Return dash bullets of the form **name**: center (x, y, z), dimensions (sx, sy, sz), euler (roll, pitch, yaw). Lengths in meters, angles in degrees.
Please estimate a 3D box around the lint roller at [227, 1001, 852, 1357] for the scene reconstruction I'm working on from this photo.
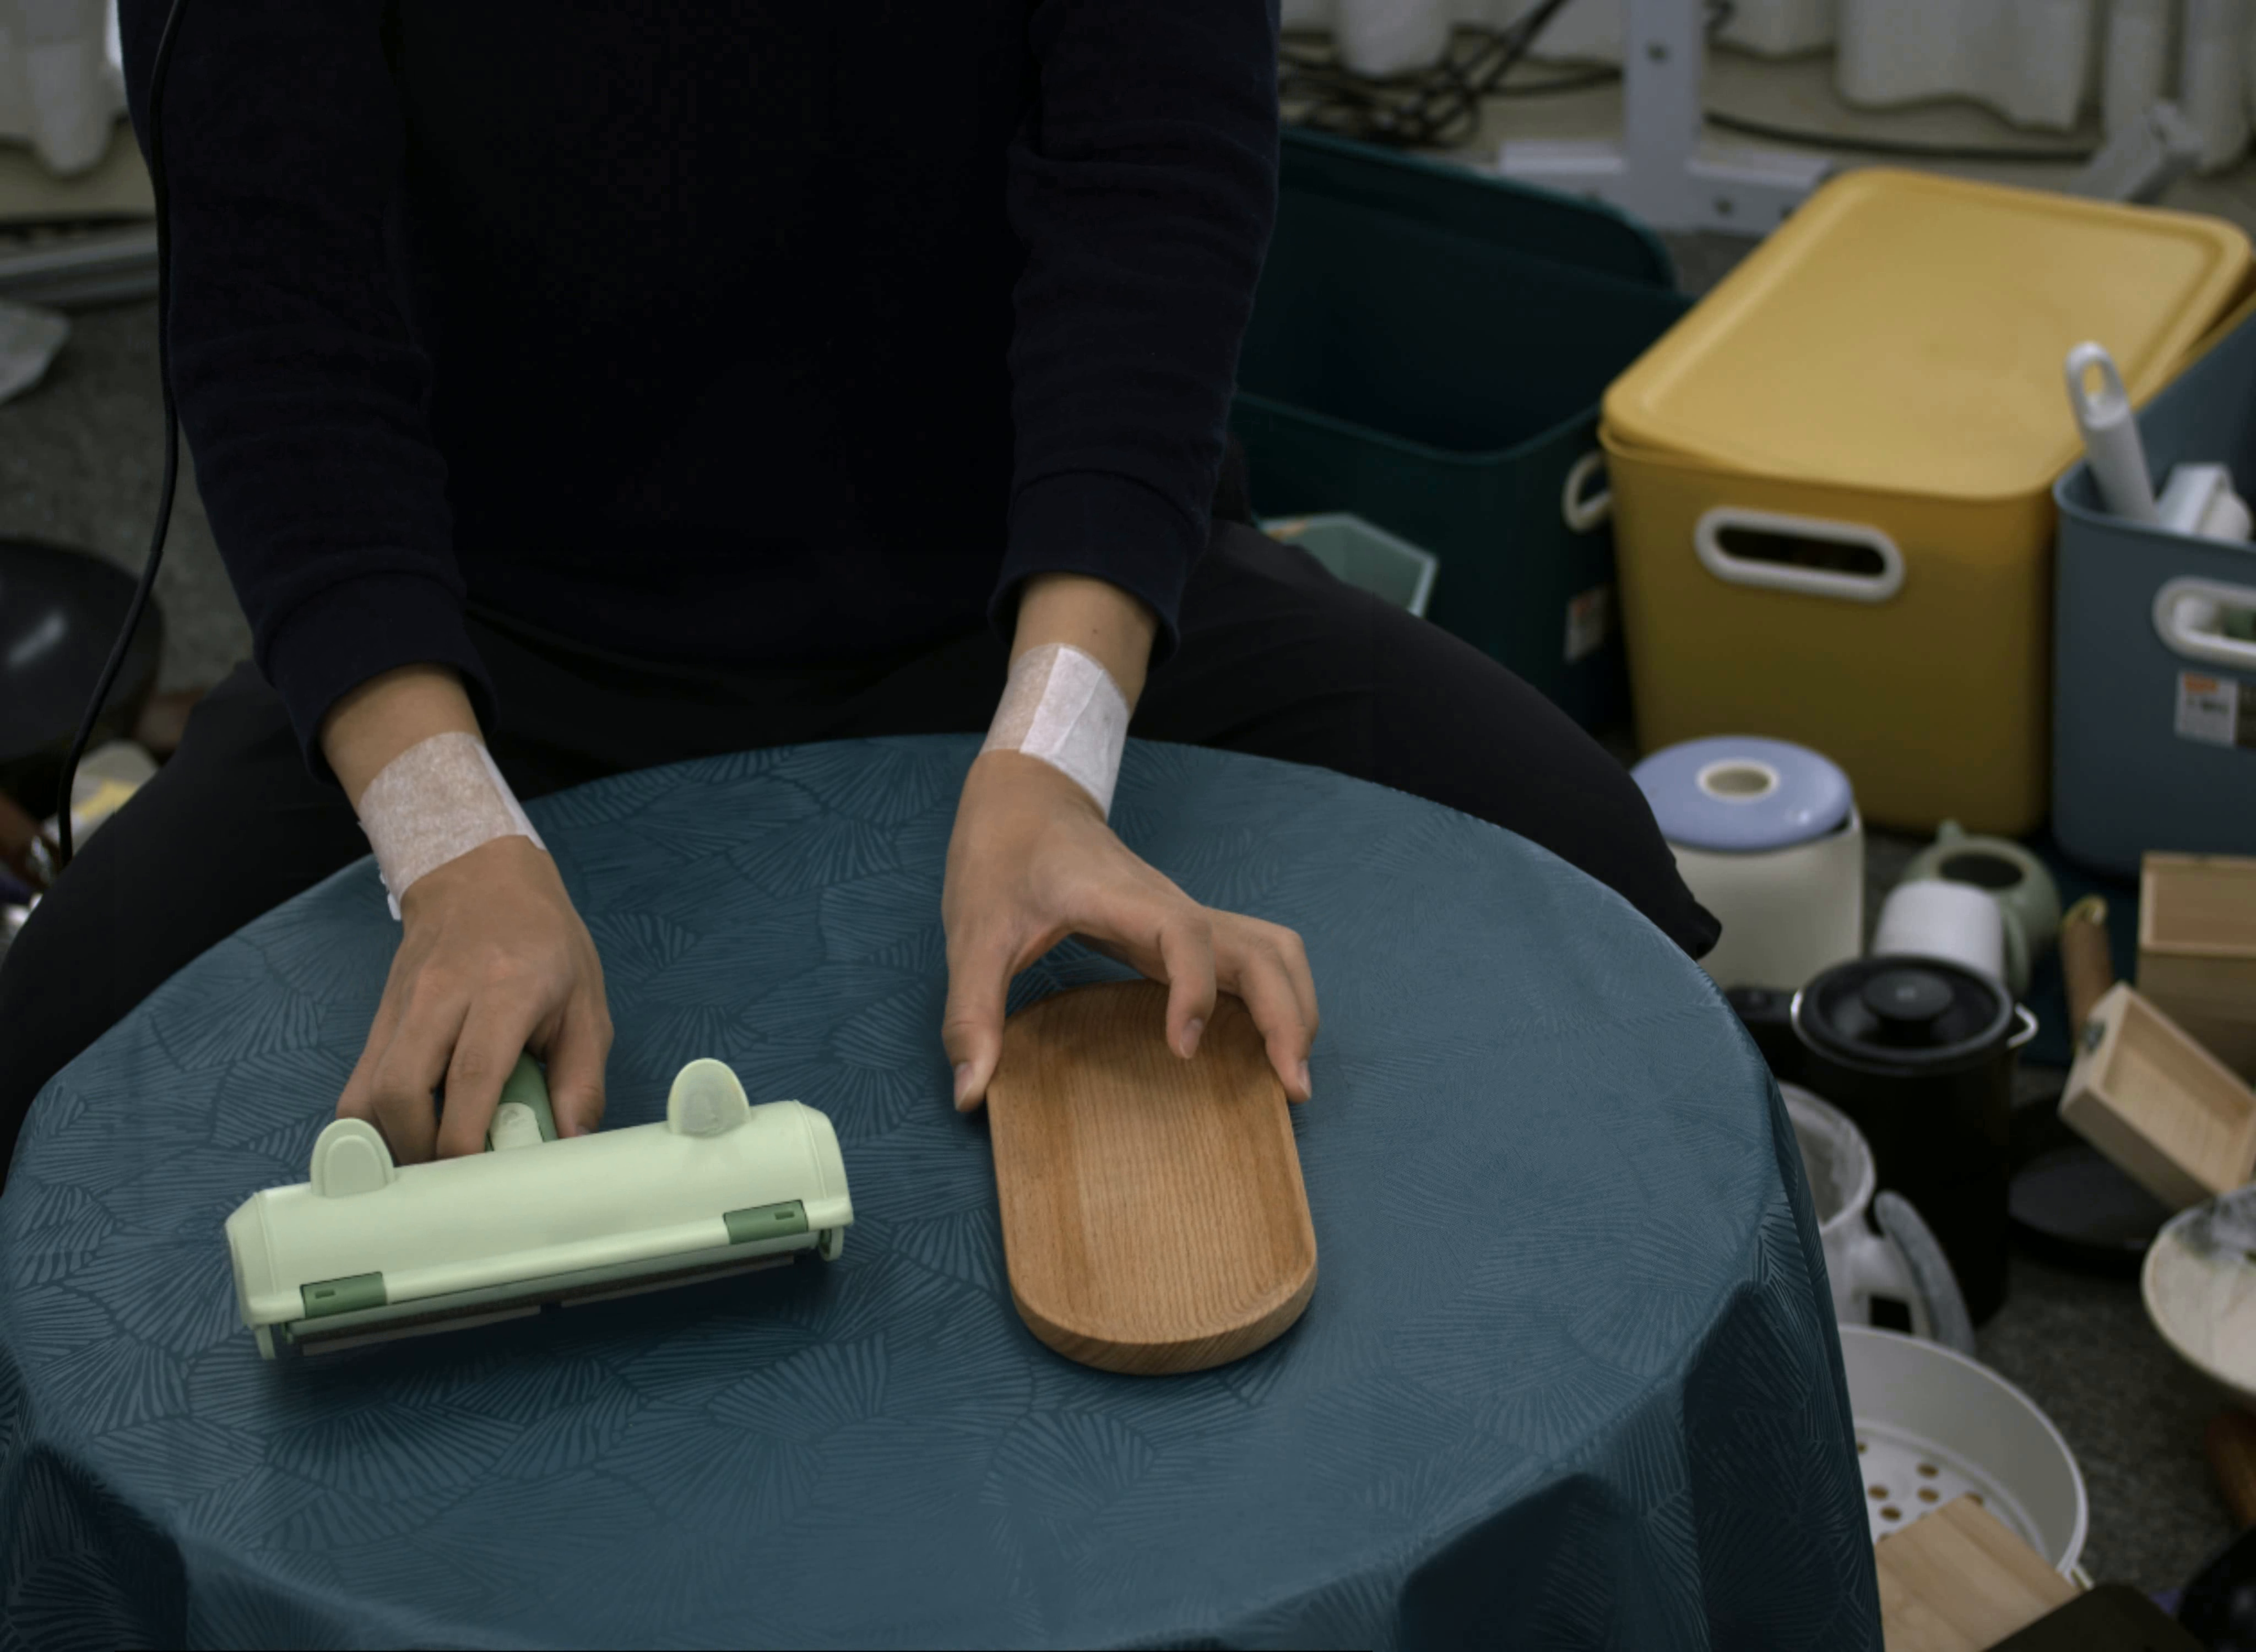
- **lint roller**: center (-0.204, 0.092, 1.841), dimensions (0.198, 0.081, 0.186), euler (-9, 36, -14)

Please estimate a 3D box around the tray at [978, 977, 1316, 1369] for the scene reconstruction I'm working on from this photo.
- **tray**: center (0.005, 0.112, 1.862), dimensions (0.101, 0.020, 0.234), euler (-5, 26, -3)
